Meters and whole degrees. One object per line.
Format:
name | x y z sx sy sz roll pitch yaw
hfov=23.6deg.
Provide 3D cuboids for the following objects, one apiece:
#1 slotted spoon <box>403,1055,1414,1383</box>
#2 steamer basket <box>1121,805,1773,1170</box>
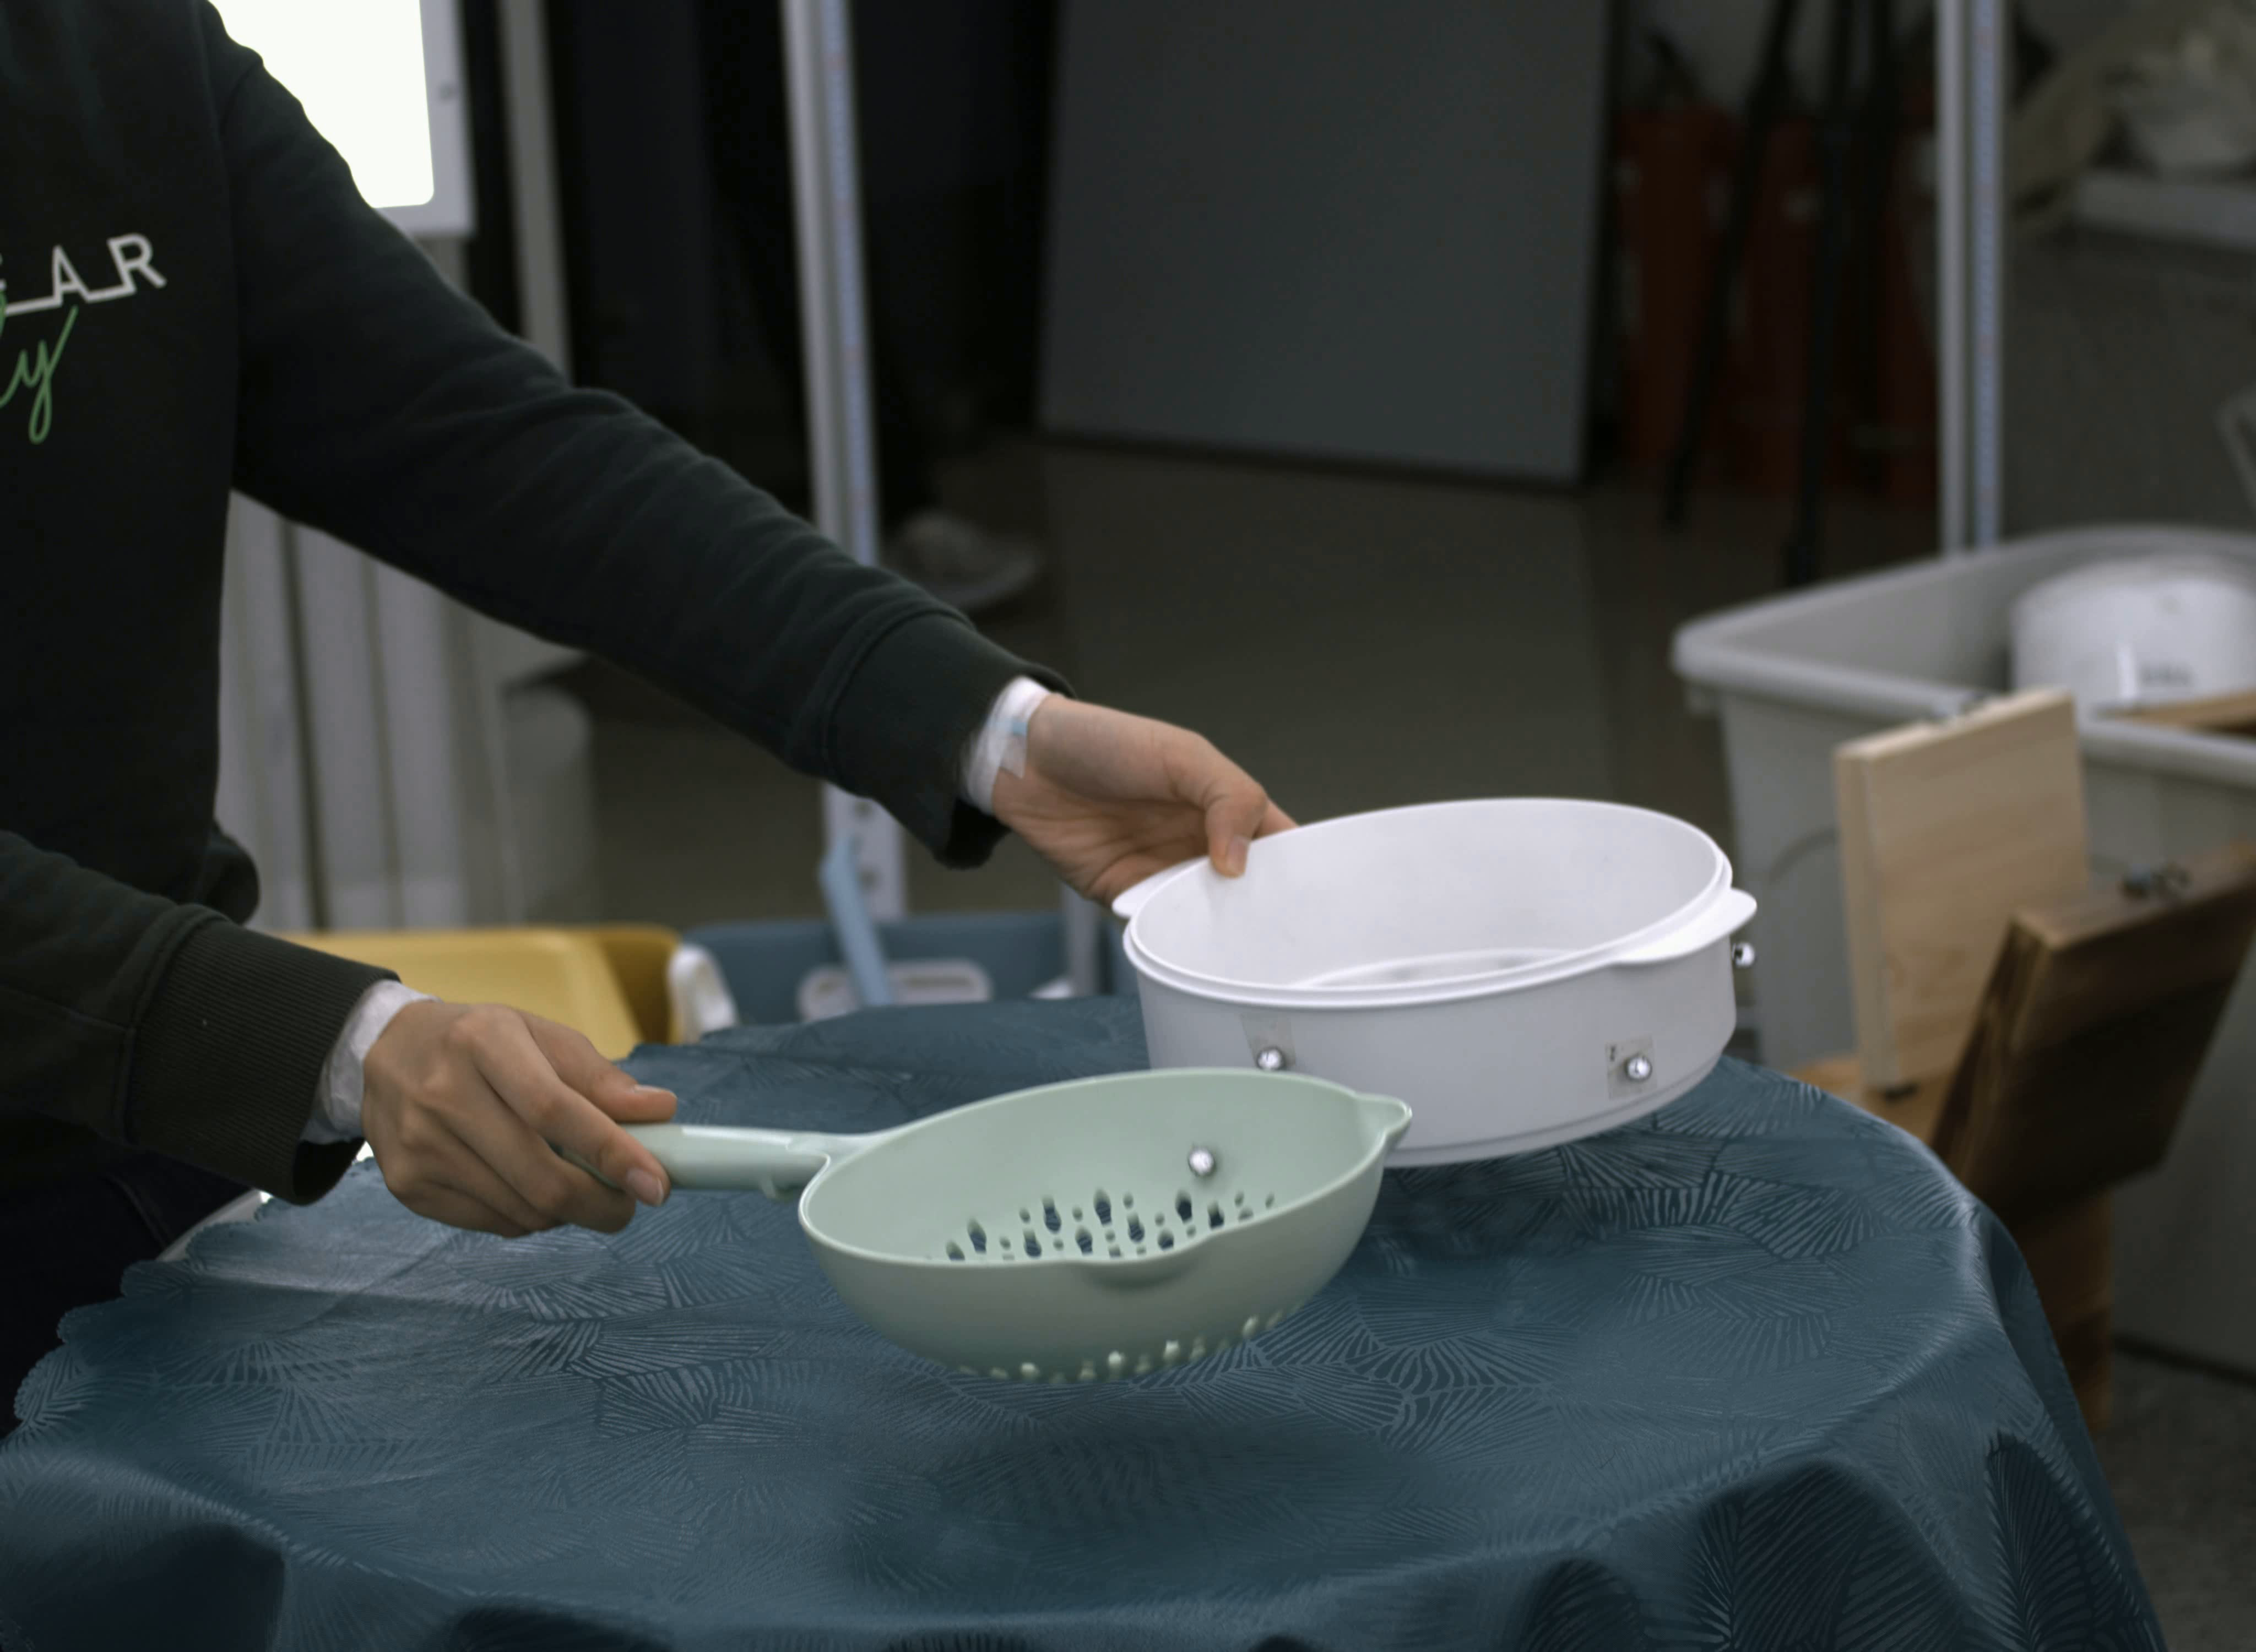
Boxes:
slotted spoon | -0.084 0.102 1.583 0.361 0.076 0.166 11 22 36
steamer basket | 0.105 0.052 1.755 0.232 0.070 0.198 2 18 37
